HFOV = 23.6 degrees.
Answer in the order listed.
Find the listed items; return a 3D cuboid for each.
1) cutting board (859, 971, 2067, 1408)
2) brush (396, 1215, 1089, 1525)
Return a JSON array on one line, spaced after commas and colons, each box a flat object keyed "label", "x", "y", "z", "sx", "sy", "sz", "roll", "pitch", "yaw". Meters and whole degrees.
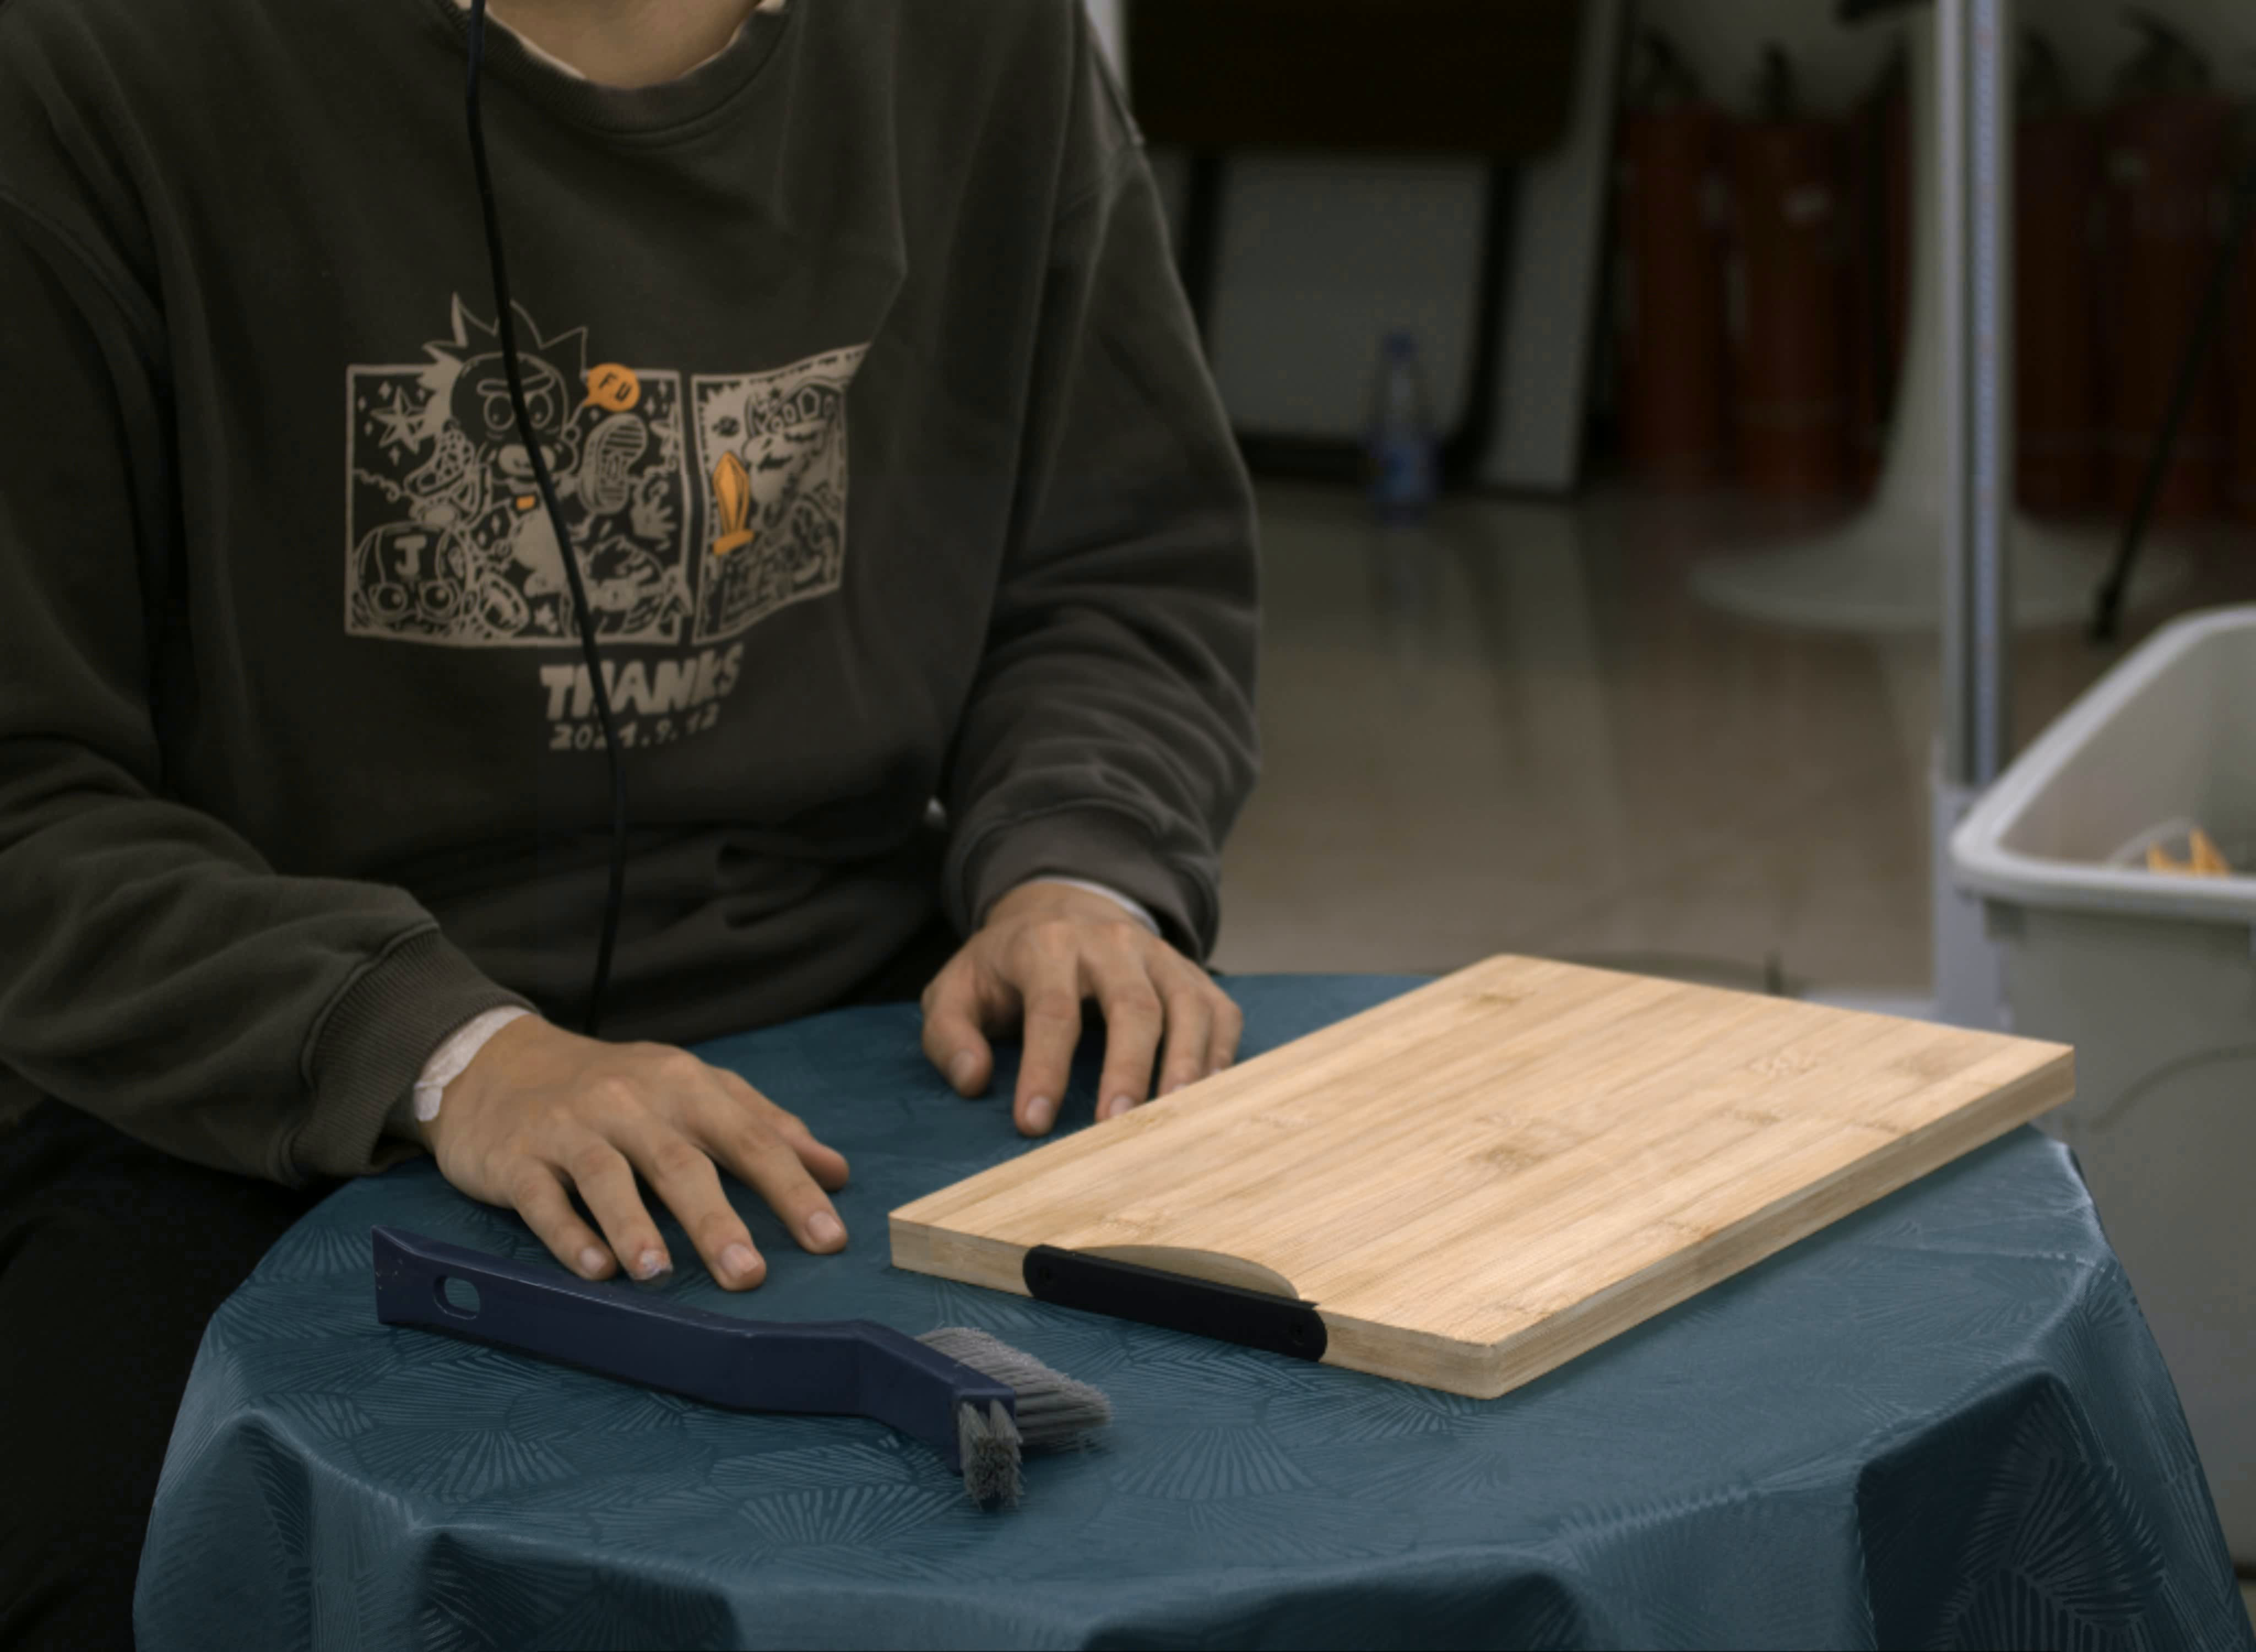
[{"label": "cutting board", "x": 0.116, "y": 0.112, "z": 1.751, "sx": 0.252, "sy": 0.024, "sz": 0.342, "roll": 6, "pitch": 17, "yaw": 39}, {"label": "brush", "x": -0.131, "y": 0.158, "z": 1.599, "sx": 0.275, "sy": 0.034, "sz": 0.094, "roll": 6, "pitch": 17, "yaw": 34}]
